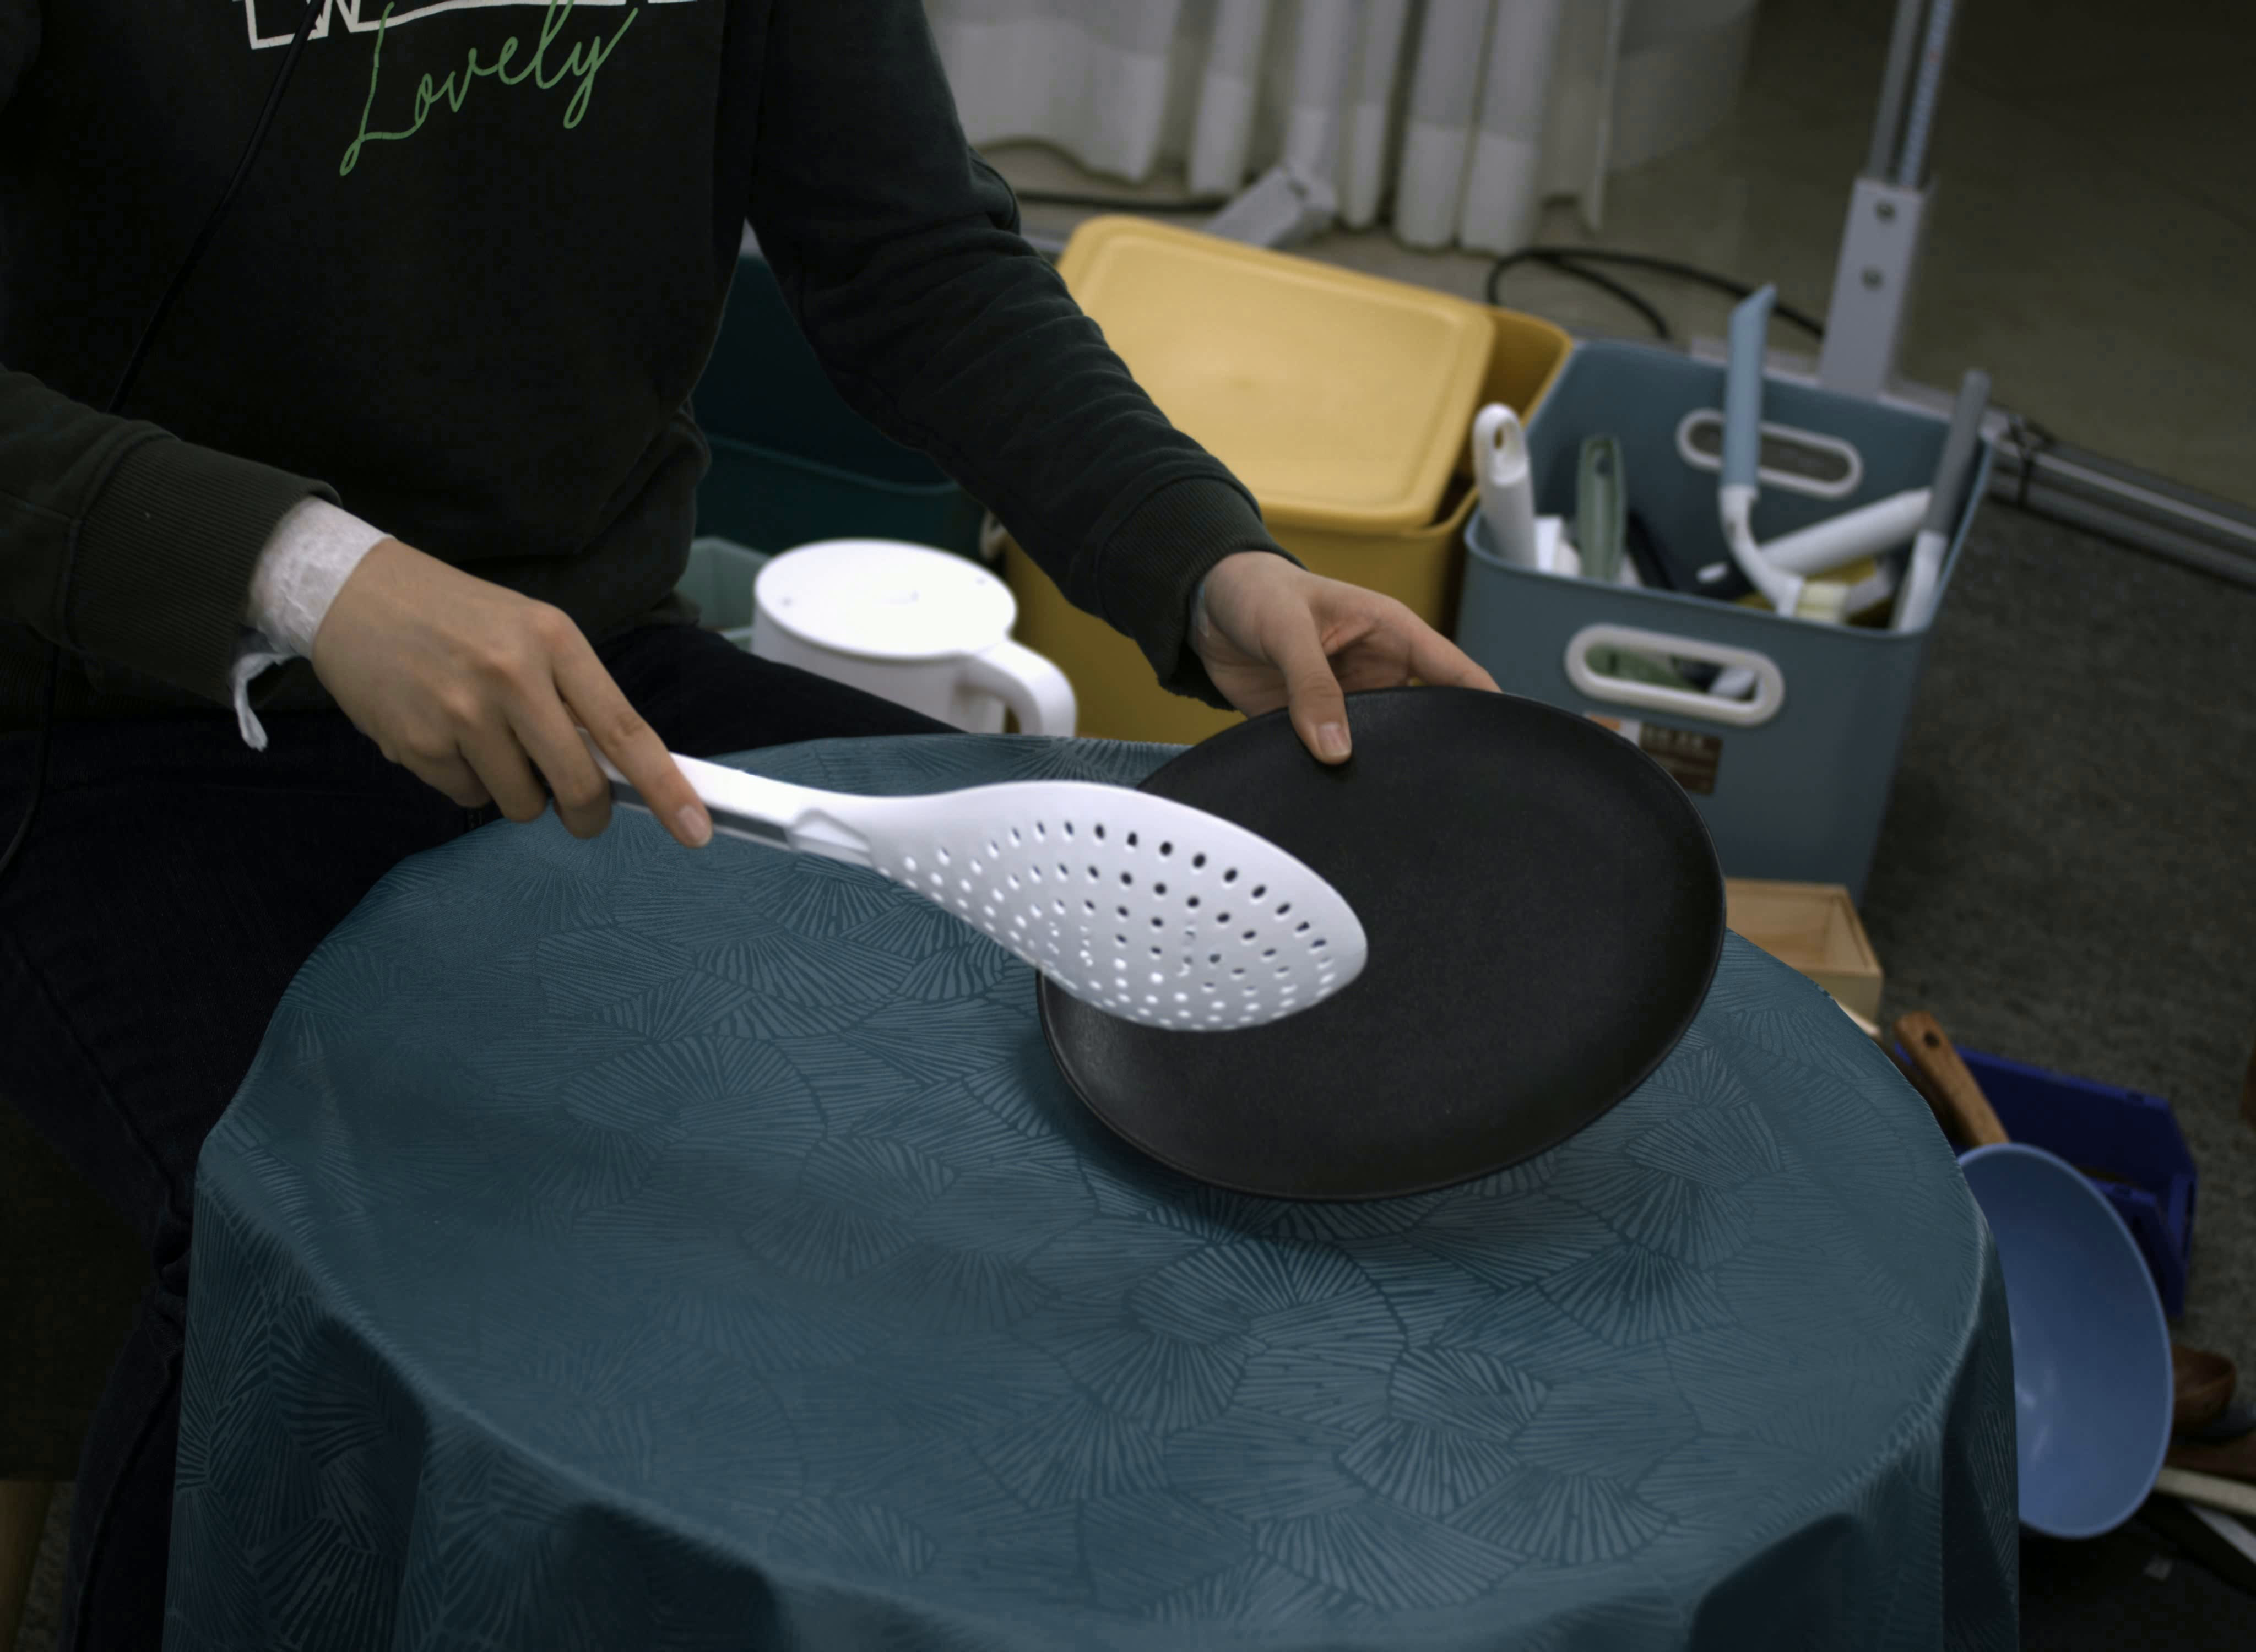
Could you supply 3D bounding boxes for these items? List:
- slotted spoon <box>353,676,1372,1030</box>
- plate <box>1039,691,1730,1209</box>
[{"bbox_3d":[-0.091,0.001,1.718,0.350,0.135,0.046,18,64,17],"label":"slotted spoon"},{"bbox_3d":[0.090,0.045,1.855,0.244,0.023,0.246,-8,44,8],"label":"plate"}]
